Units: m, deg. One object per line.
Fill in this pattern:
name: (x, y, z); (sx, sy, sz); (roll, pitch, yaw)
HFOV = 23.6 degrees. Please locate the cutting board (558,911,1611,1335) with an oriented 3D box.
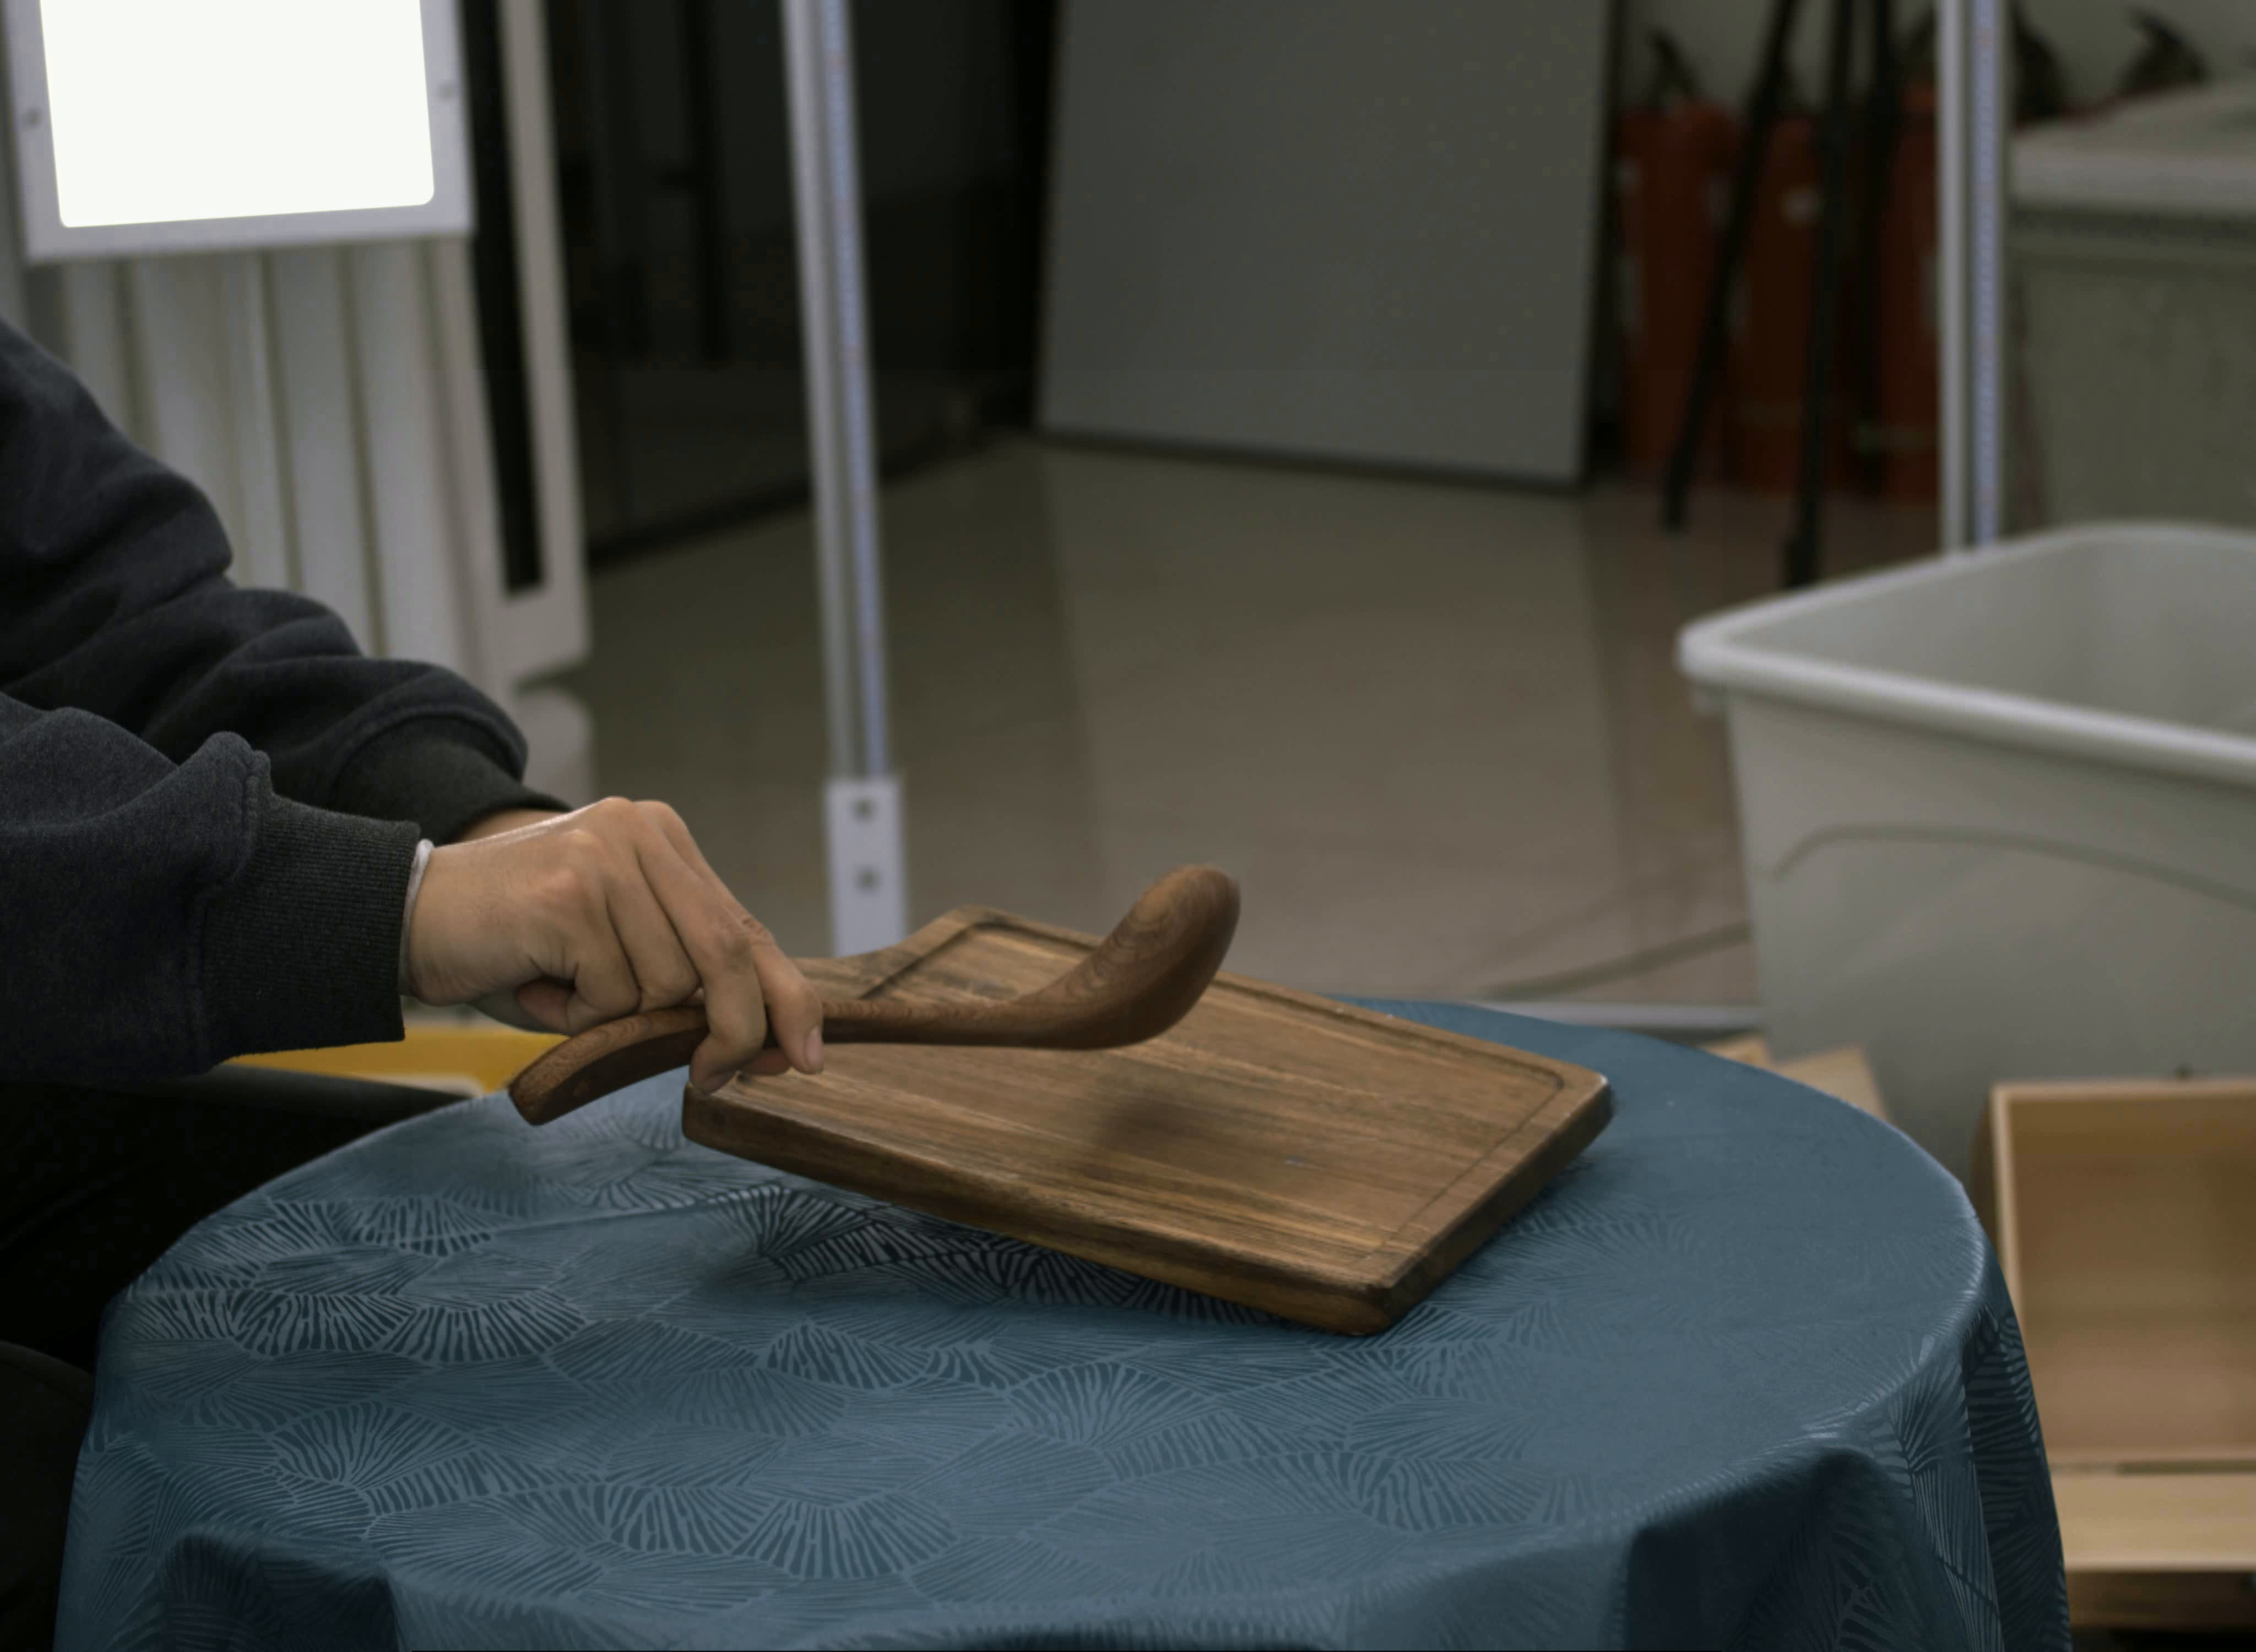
cutting board: (-0.034, 0.080, 1.762); (0.353, 0.023, 0.198); (14, 22, 25)

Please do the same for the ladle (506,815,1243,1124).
ladle: (-0.078, 0.046, 1.673); (0.254, 0.077, 0.066); (-8, 48, -24)
